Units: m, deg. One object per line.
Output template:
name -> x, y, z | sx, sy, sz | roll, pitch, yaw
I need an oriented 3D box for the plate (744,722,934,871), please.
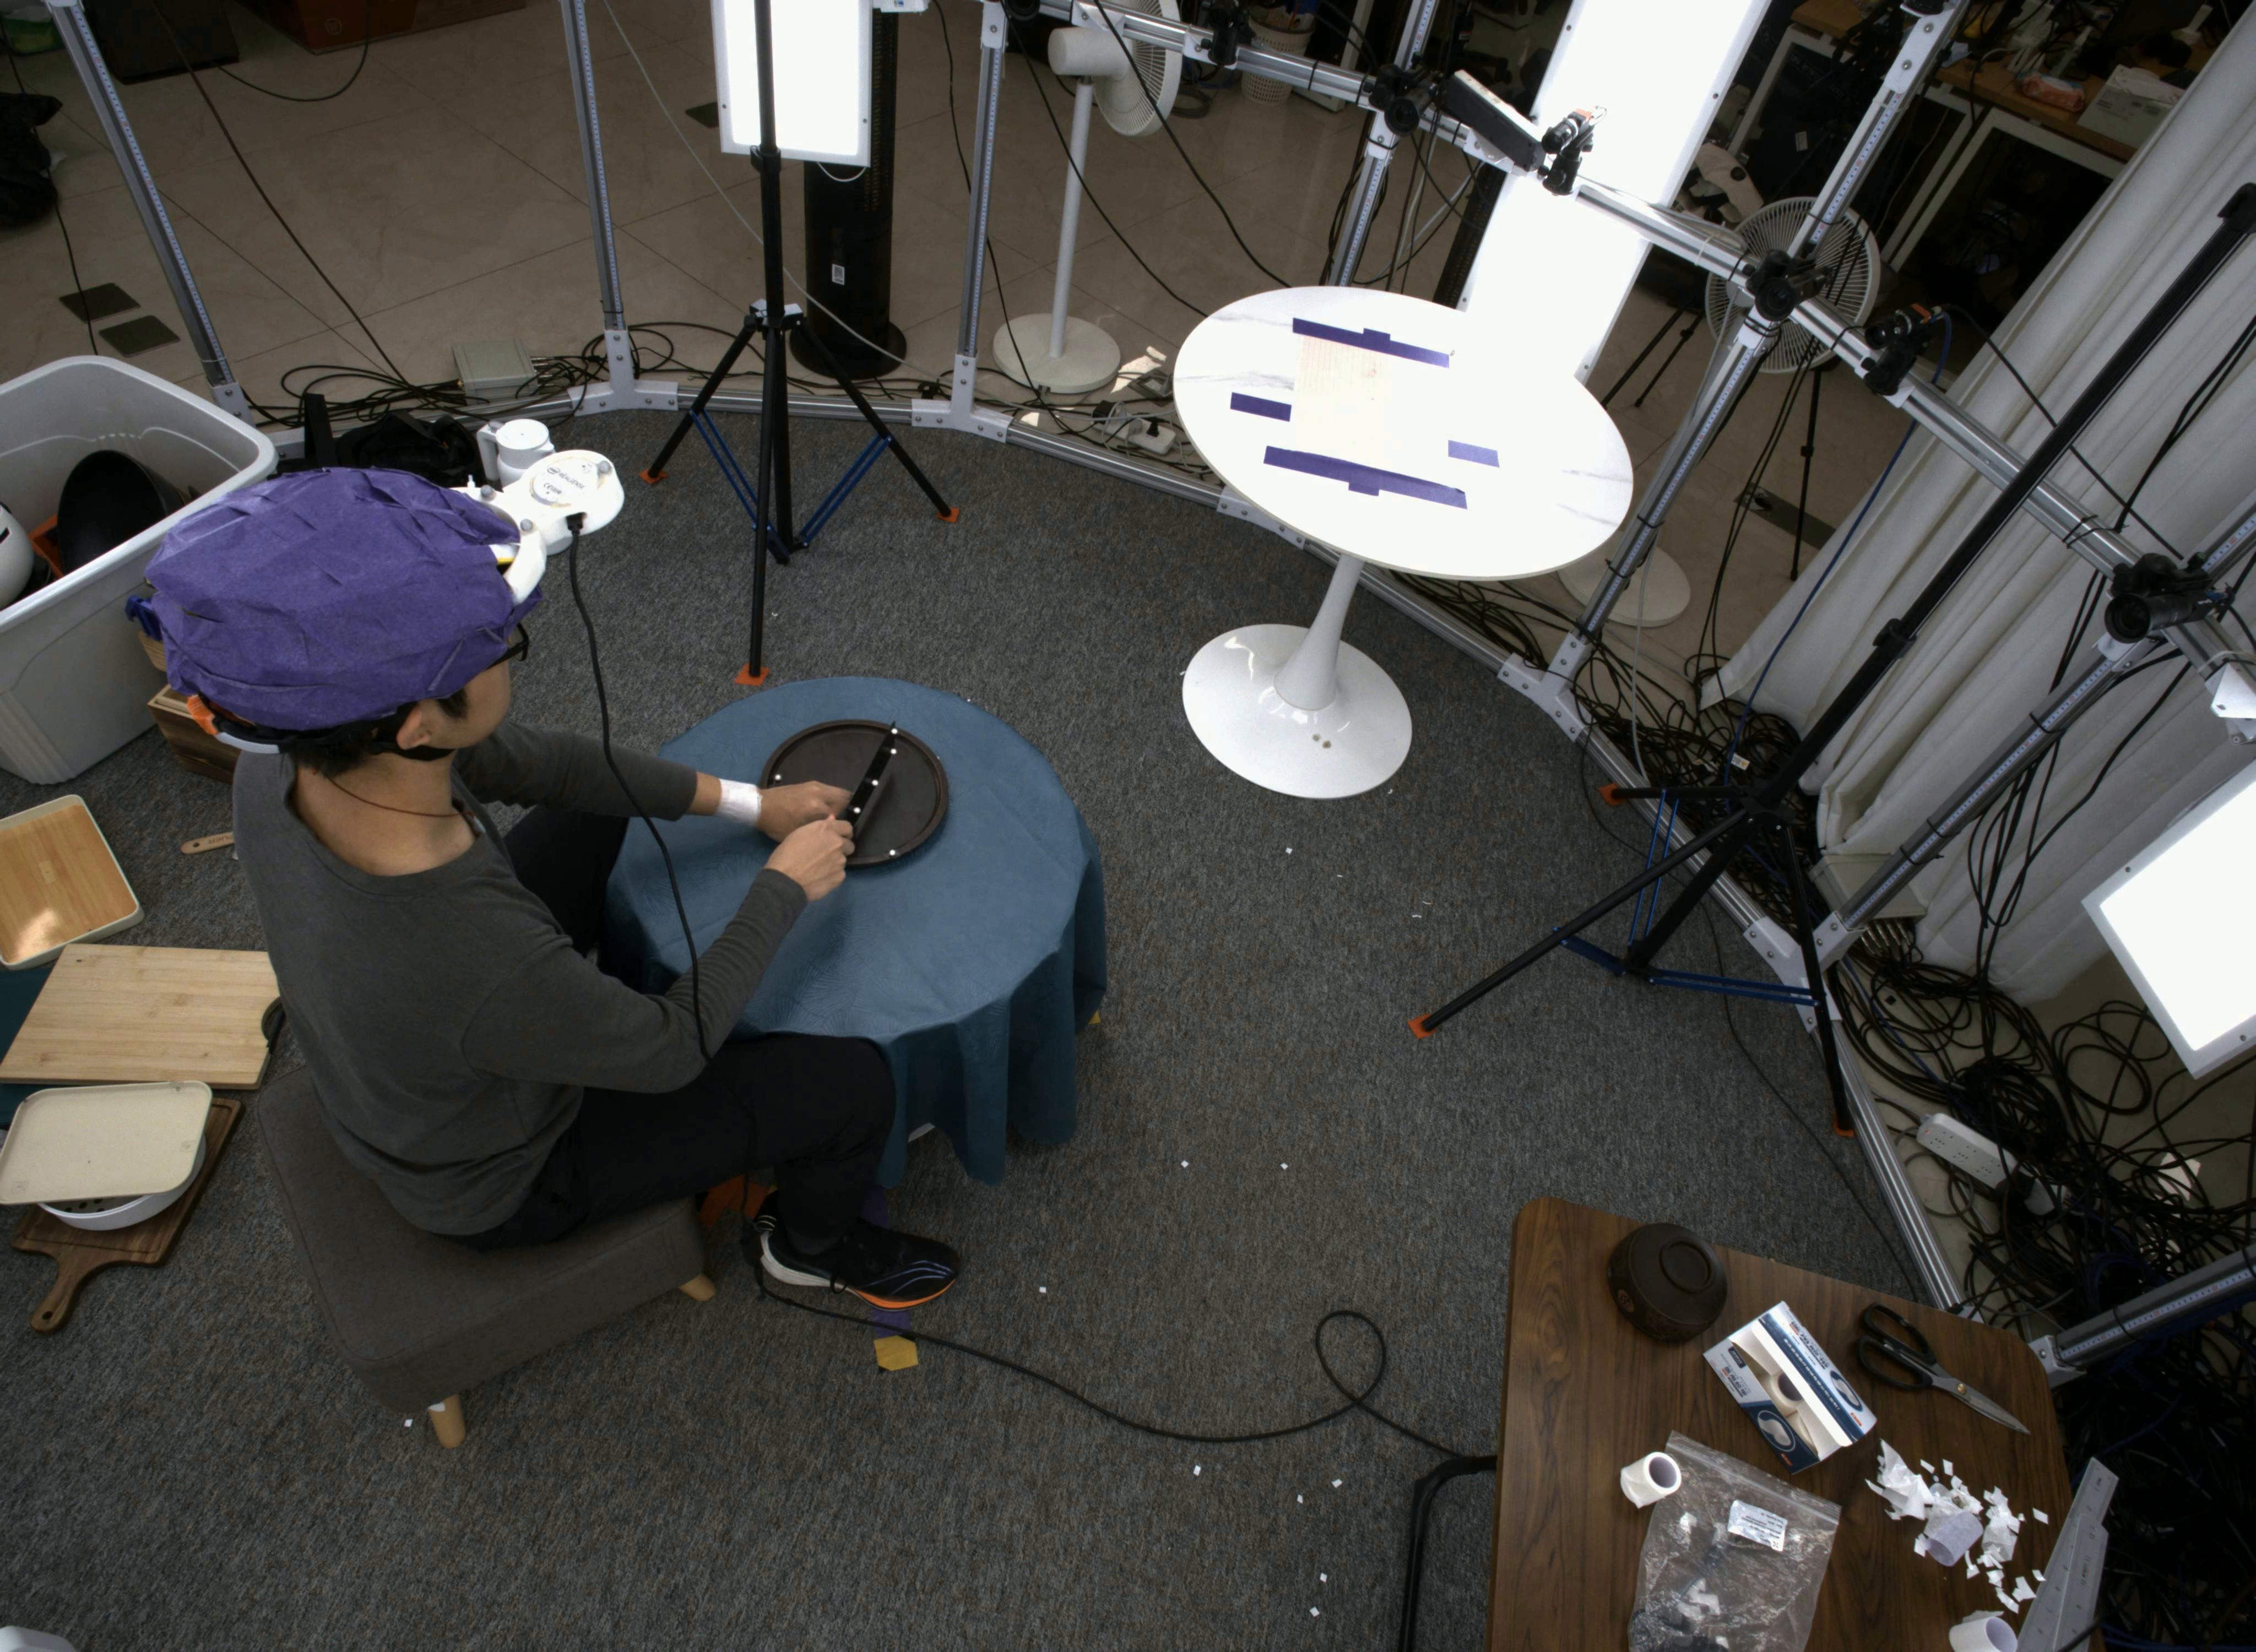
plate -> -0.390, -0.042, 1.761 | 0.254, 0.029, 0.250 | 8, 53, -10

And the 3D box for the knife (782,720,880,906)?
knife -> -0.374, -0.017, 1.665 | 0.020, 0.083, 0.298 | 16, 47, 4
